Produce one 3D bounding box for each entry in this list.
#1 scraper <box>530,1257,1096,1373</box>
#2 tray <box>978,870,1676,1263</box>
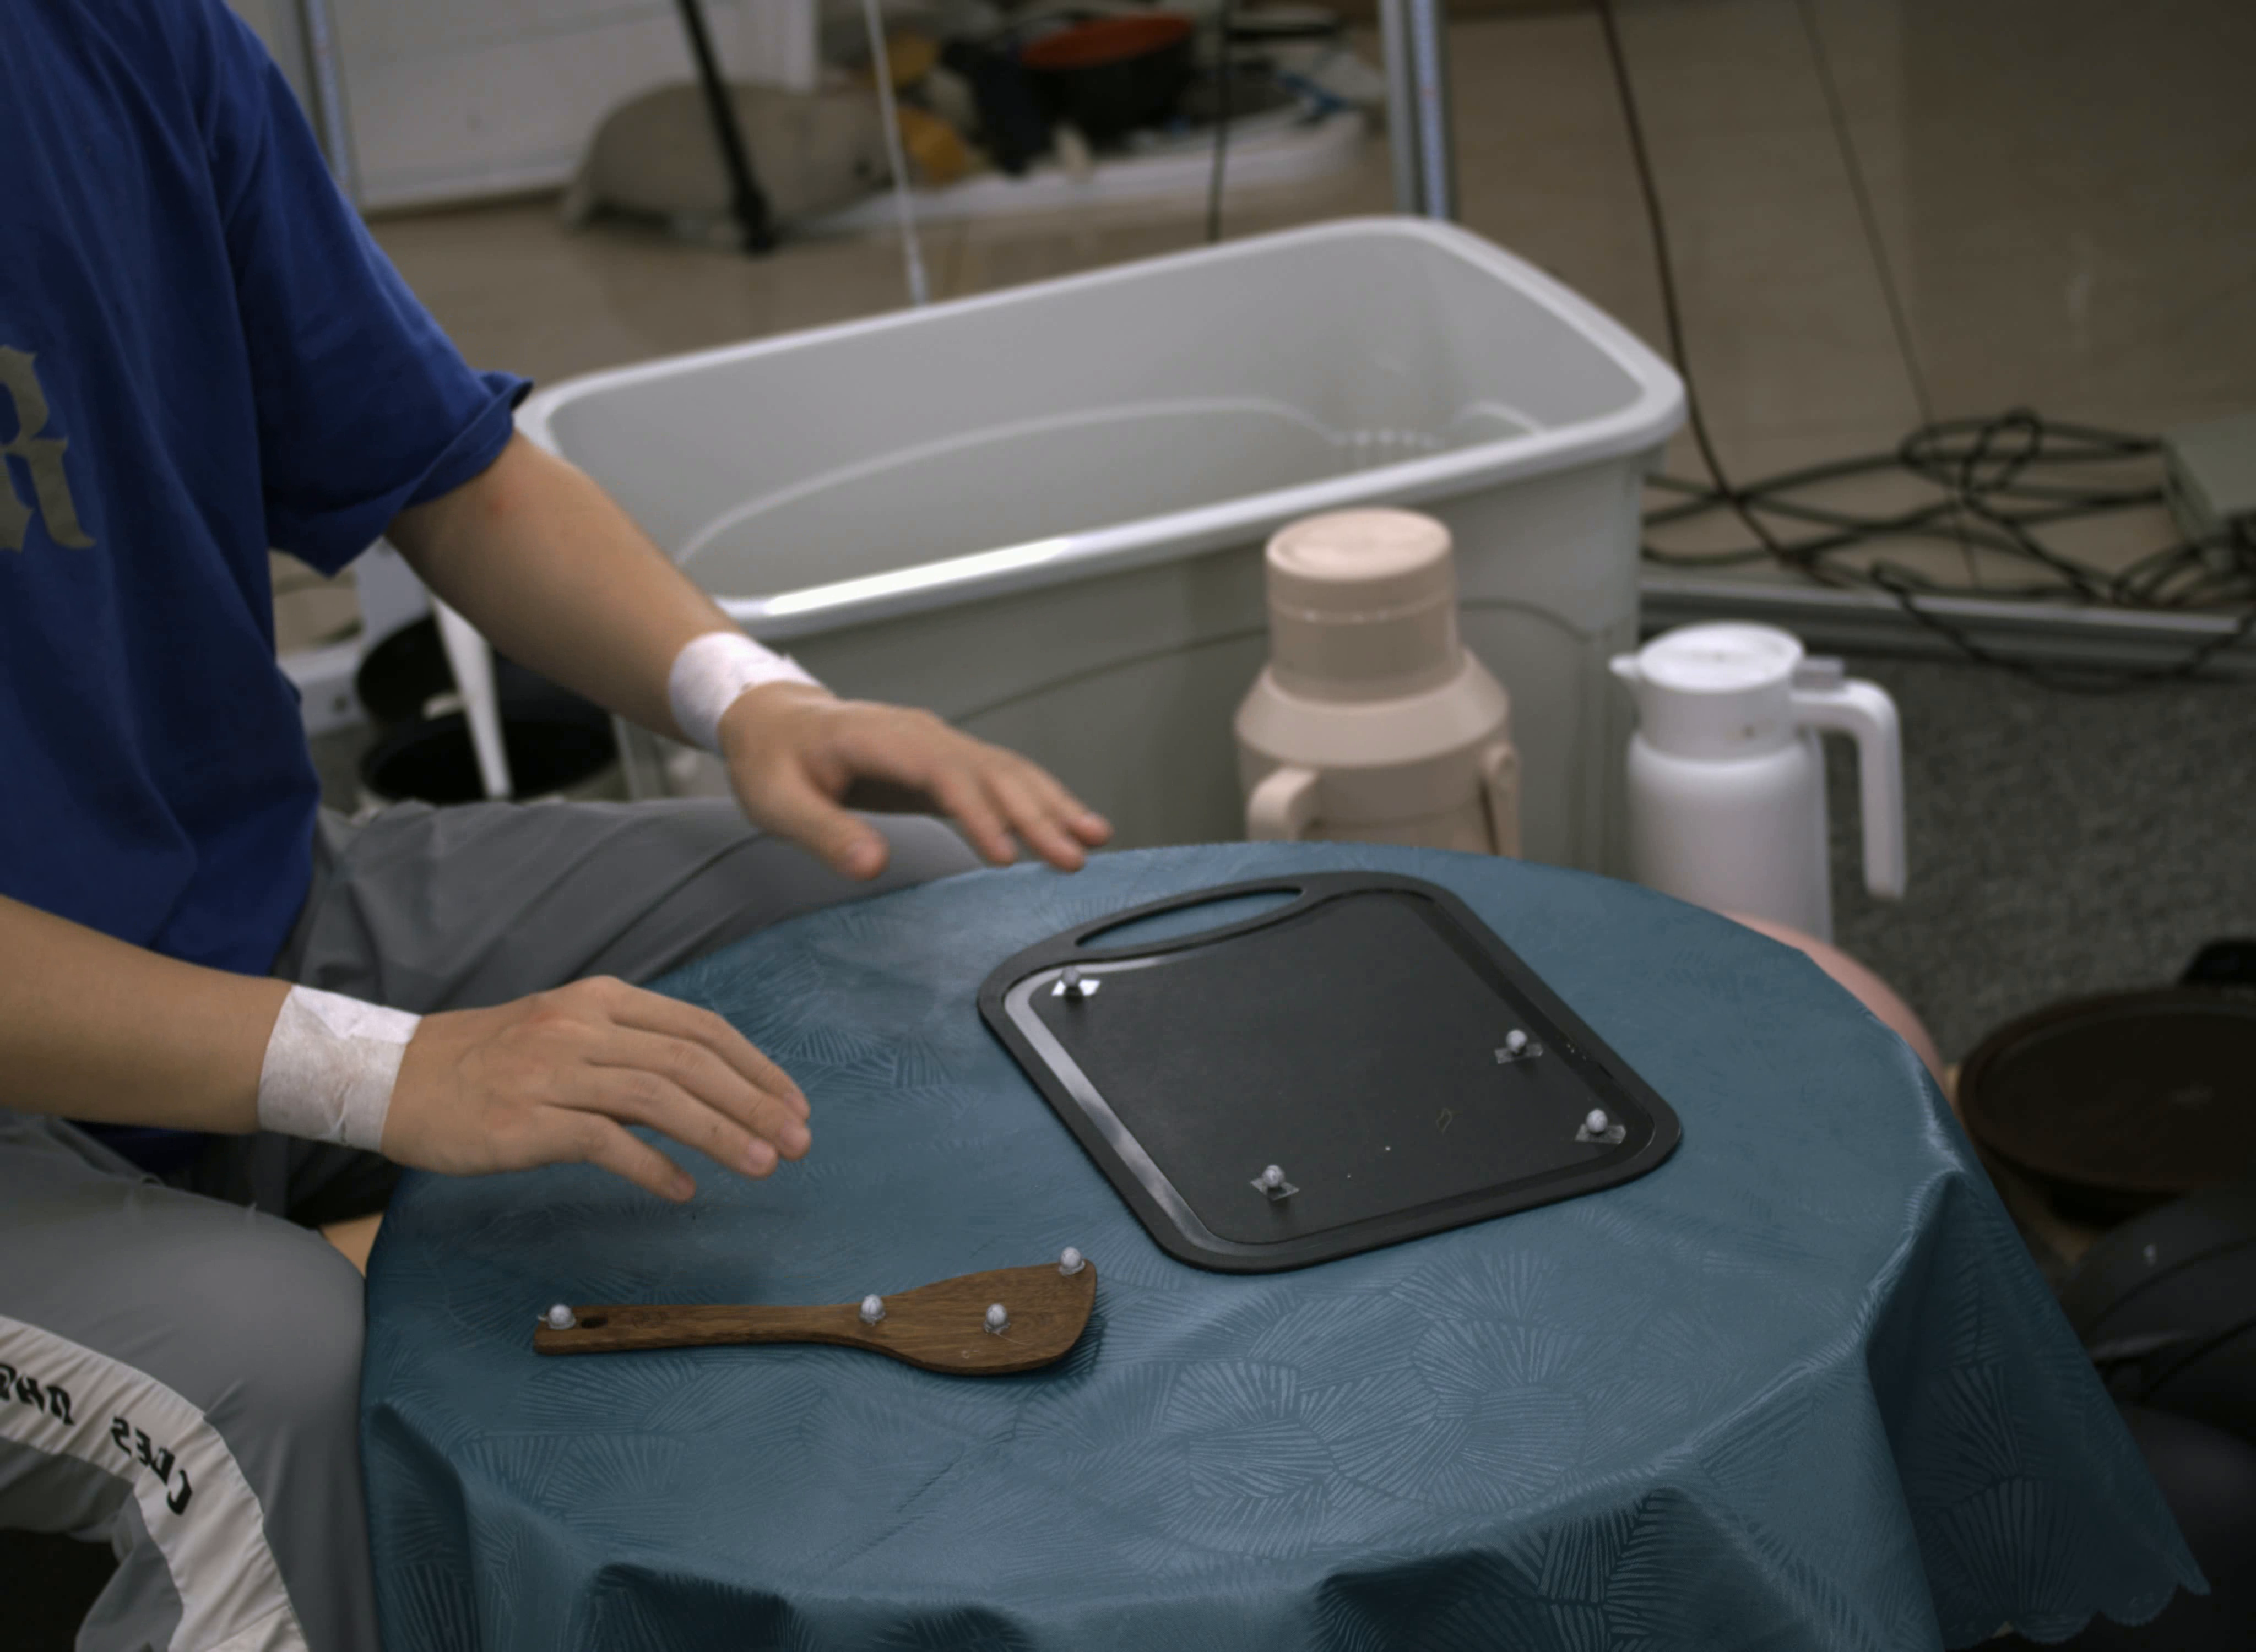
[{"bbox_3d":[-0.116,0.181,2.074,0.211,0.011,0.075,-2,24,11],"label":"scraper"},{"bbox_3d":[0.069,0.087,2.234,0.210,0.010,0.321,-13,25,-14],"label":"tray"}]
